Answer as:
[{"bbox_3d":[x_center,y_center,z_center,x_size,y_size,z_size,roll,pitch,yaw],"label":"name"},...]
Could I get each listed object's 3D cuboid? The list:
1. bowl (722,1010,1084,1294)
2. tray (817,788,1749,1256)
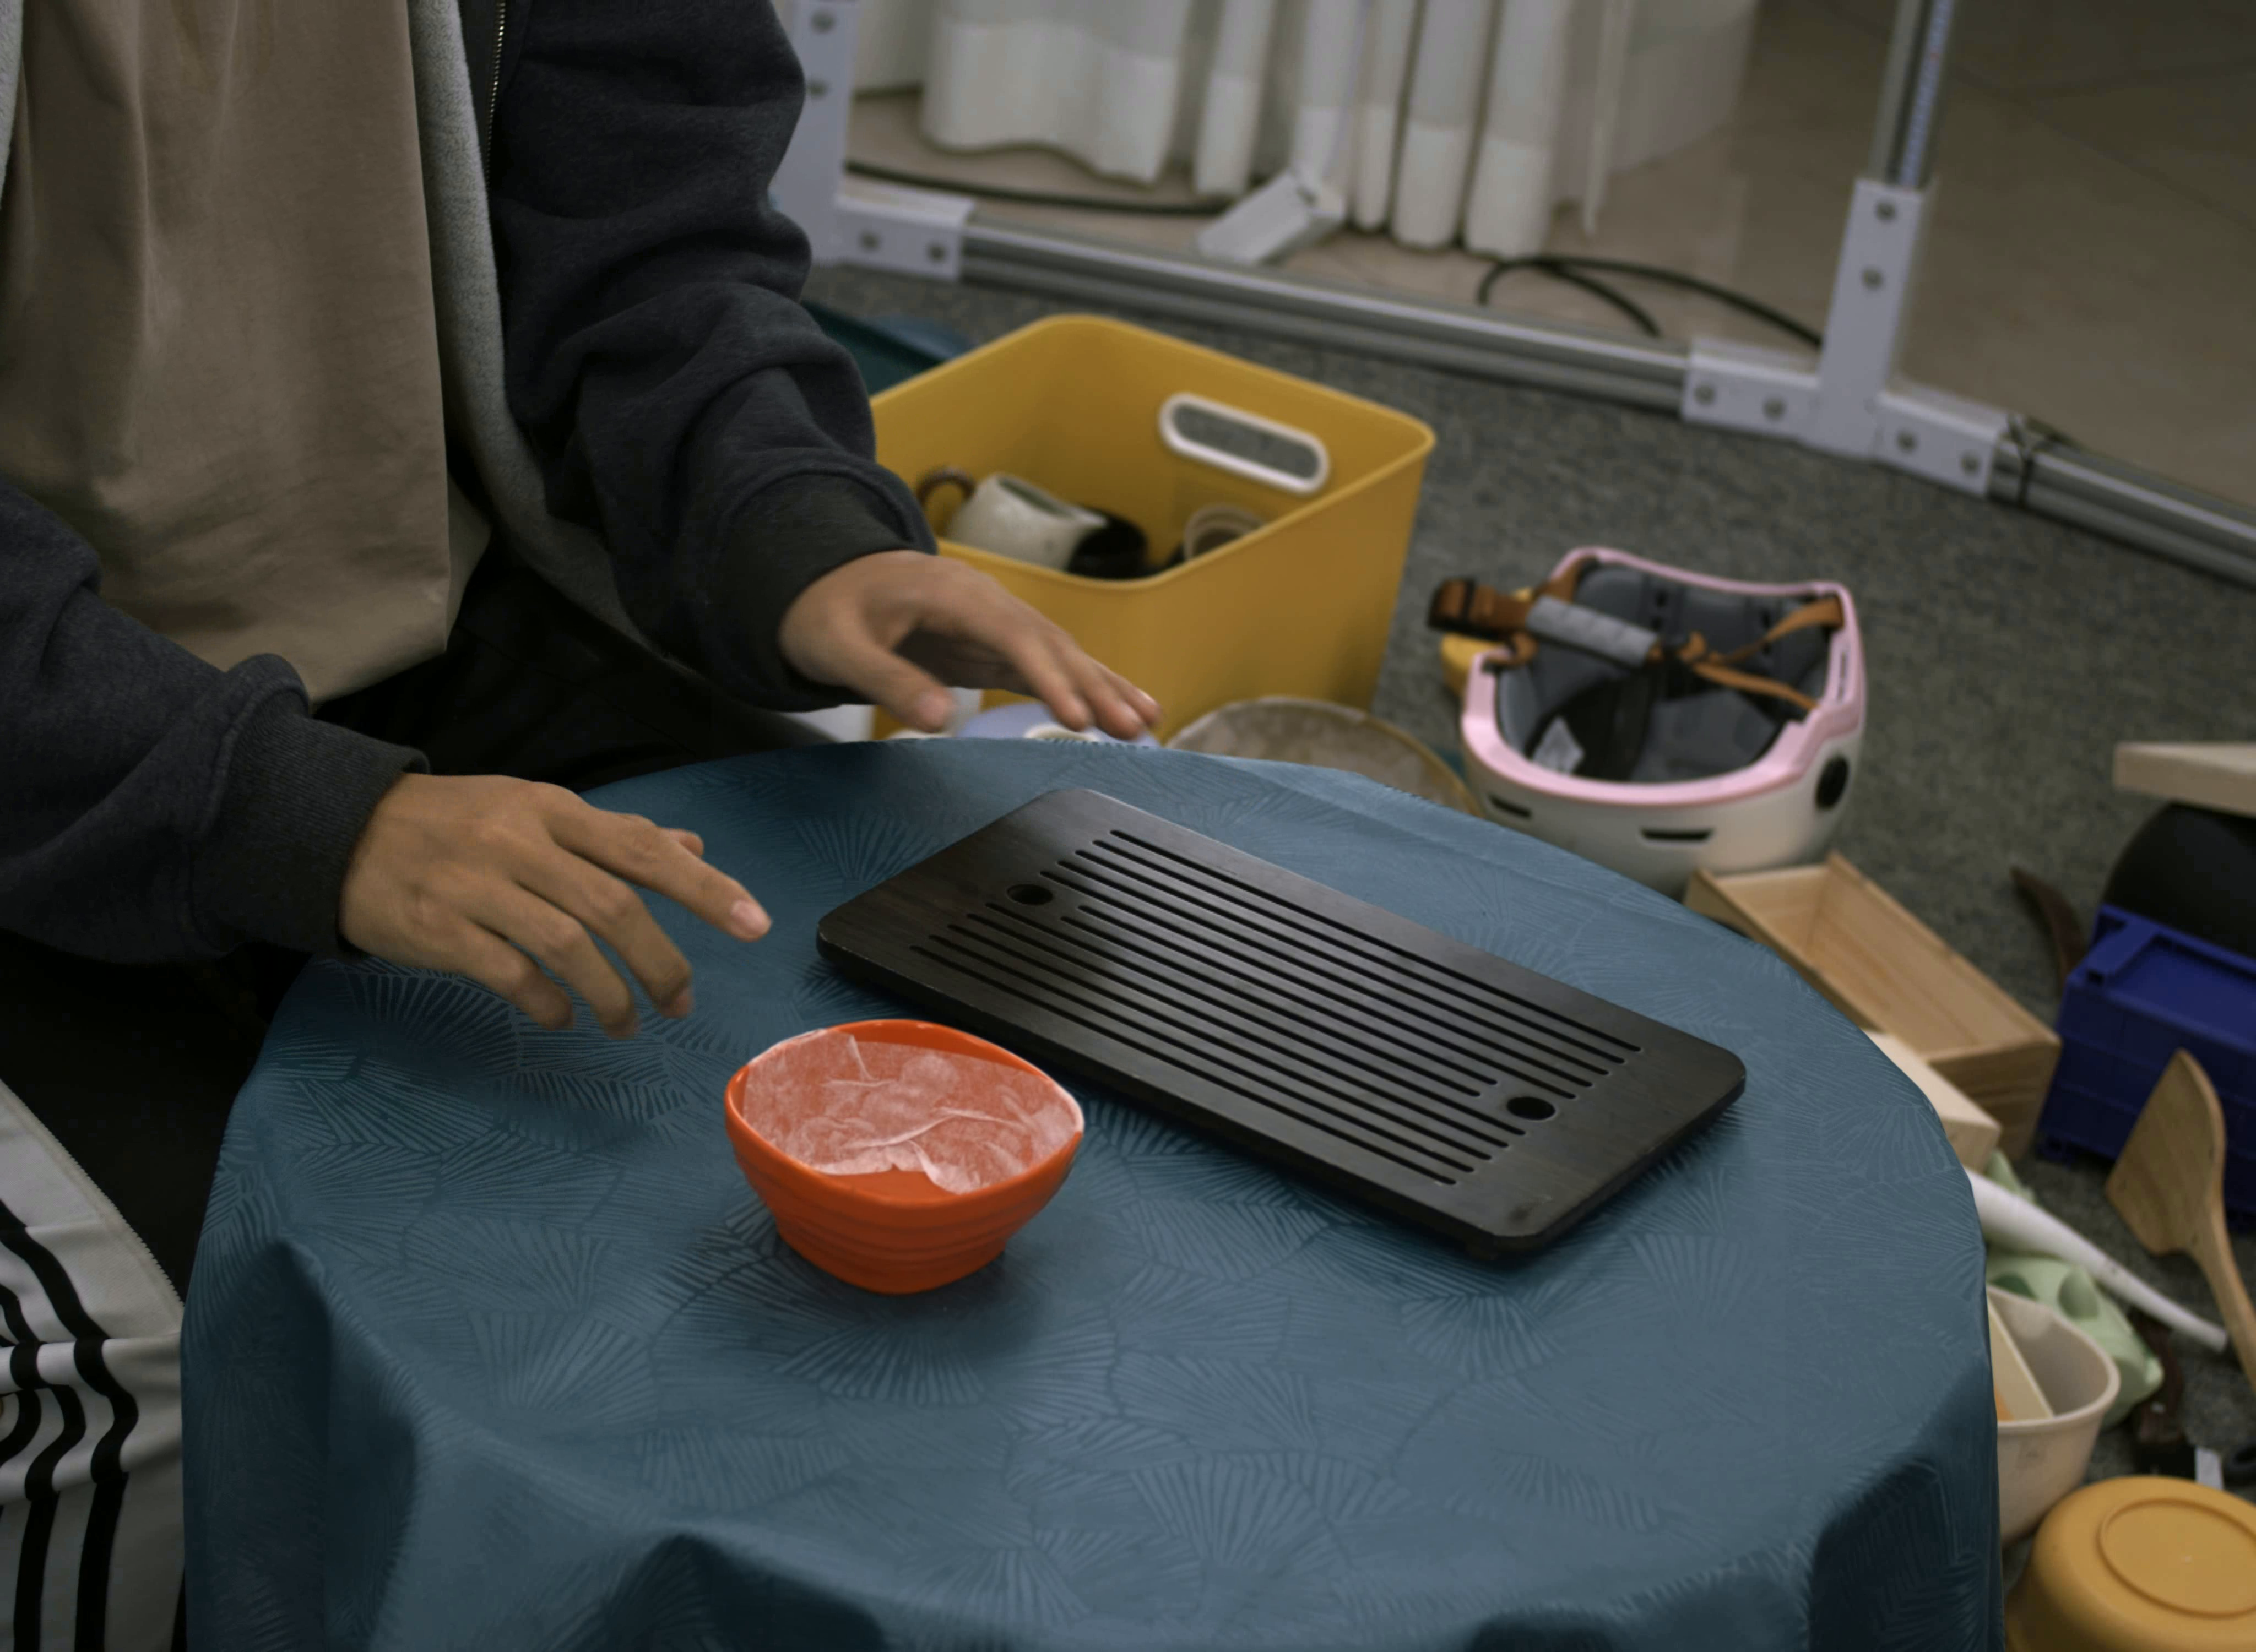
[{"bbox_3d":[-0.076,0.111,1.748,0.118,0.051,0.119,6,28,-3],"label":"bowl"},{"bbox_3d":[0.054,0.067,1.904,0.307,0.018,0.169,22,31,29],"label":"tray"}]
